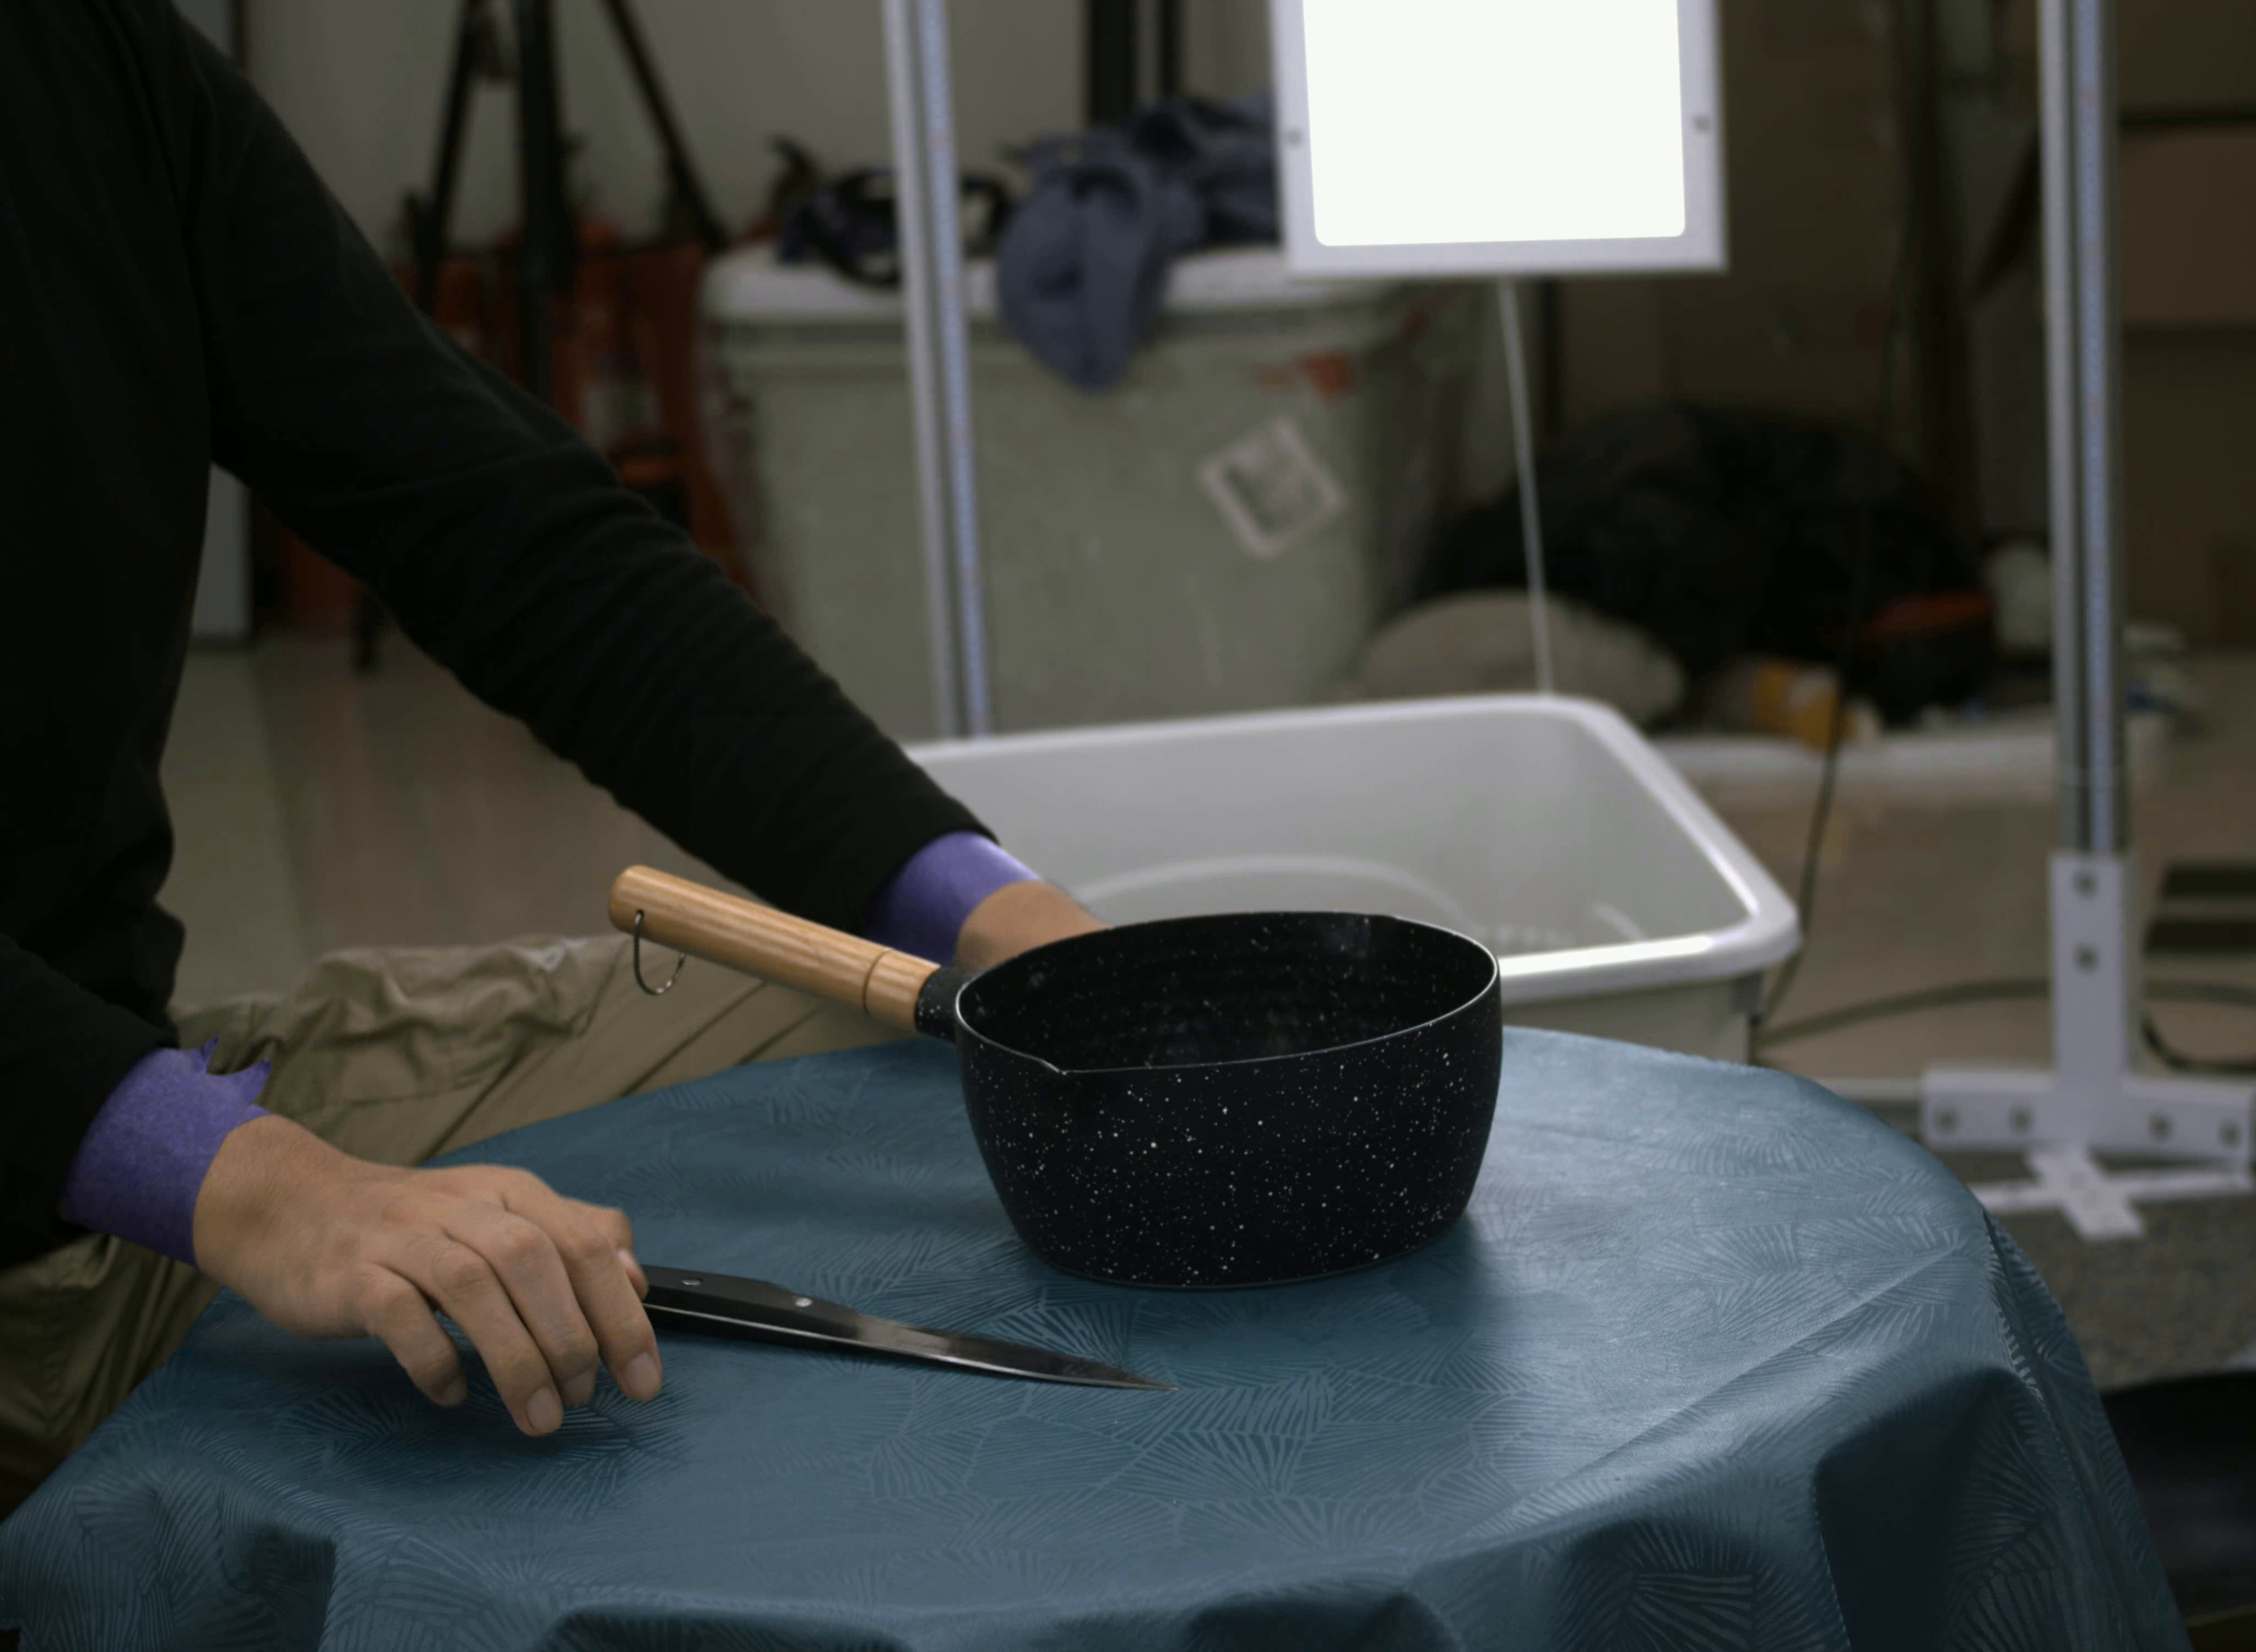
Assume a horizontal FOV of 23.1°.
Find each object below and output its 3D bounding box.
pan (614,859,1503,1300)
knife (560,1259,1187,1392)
[{"bbox_3d":[-0.033,0.078,1.887,0.349,0.108,0.202,5,17,32],"label":"pan"},{"bbox_3d":[-0.086,0.163,1.763,0.242,0.016,0.024,7,14,31],"label":"knife"}]
